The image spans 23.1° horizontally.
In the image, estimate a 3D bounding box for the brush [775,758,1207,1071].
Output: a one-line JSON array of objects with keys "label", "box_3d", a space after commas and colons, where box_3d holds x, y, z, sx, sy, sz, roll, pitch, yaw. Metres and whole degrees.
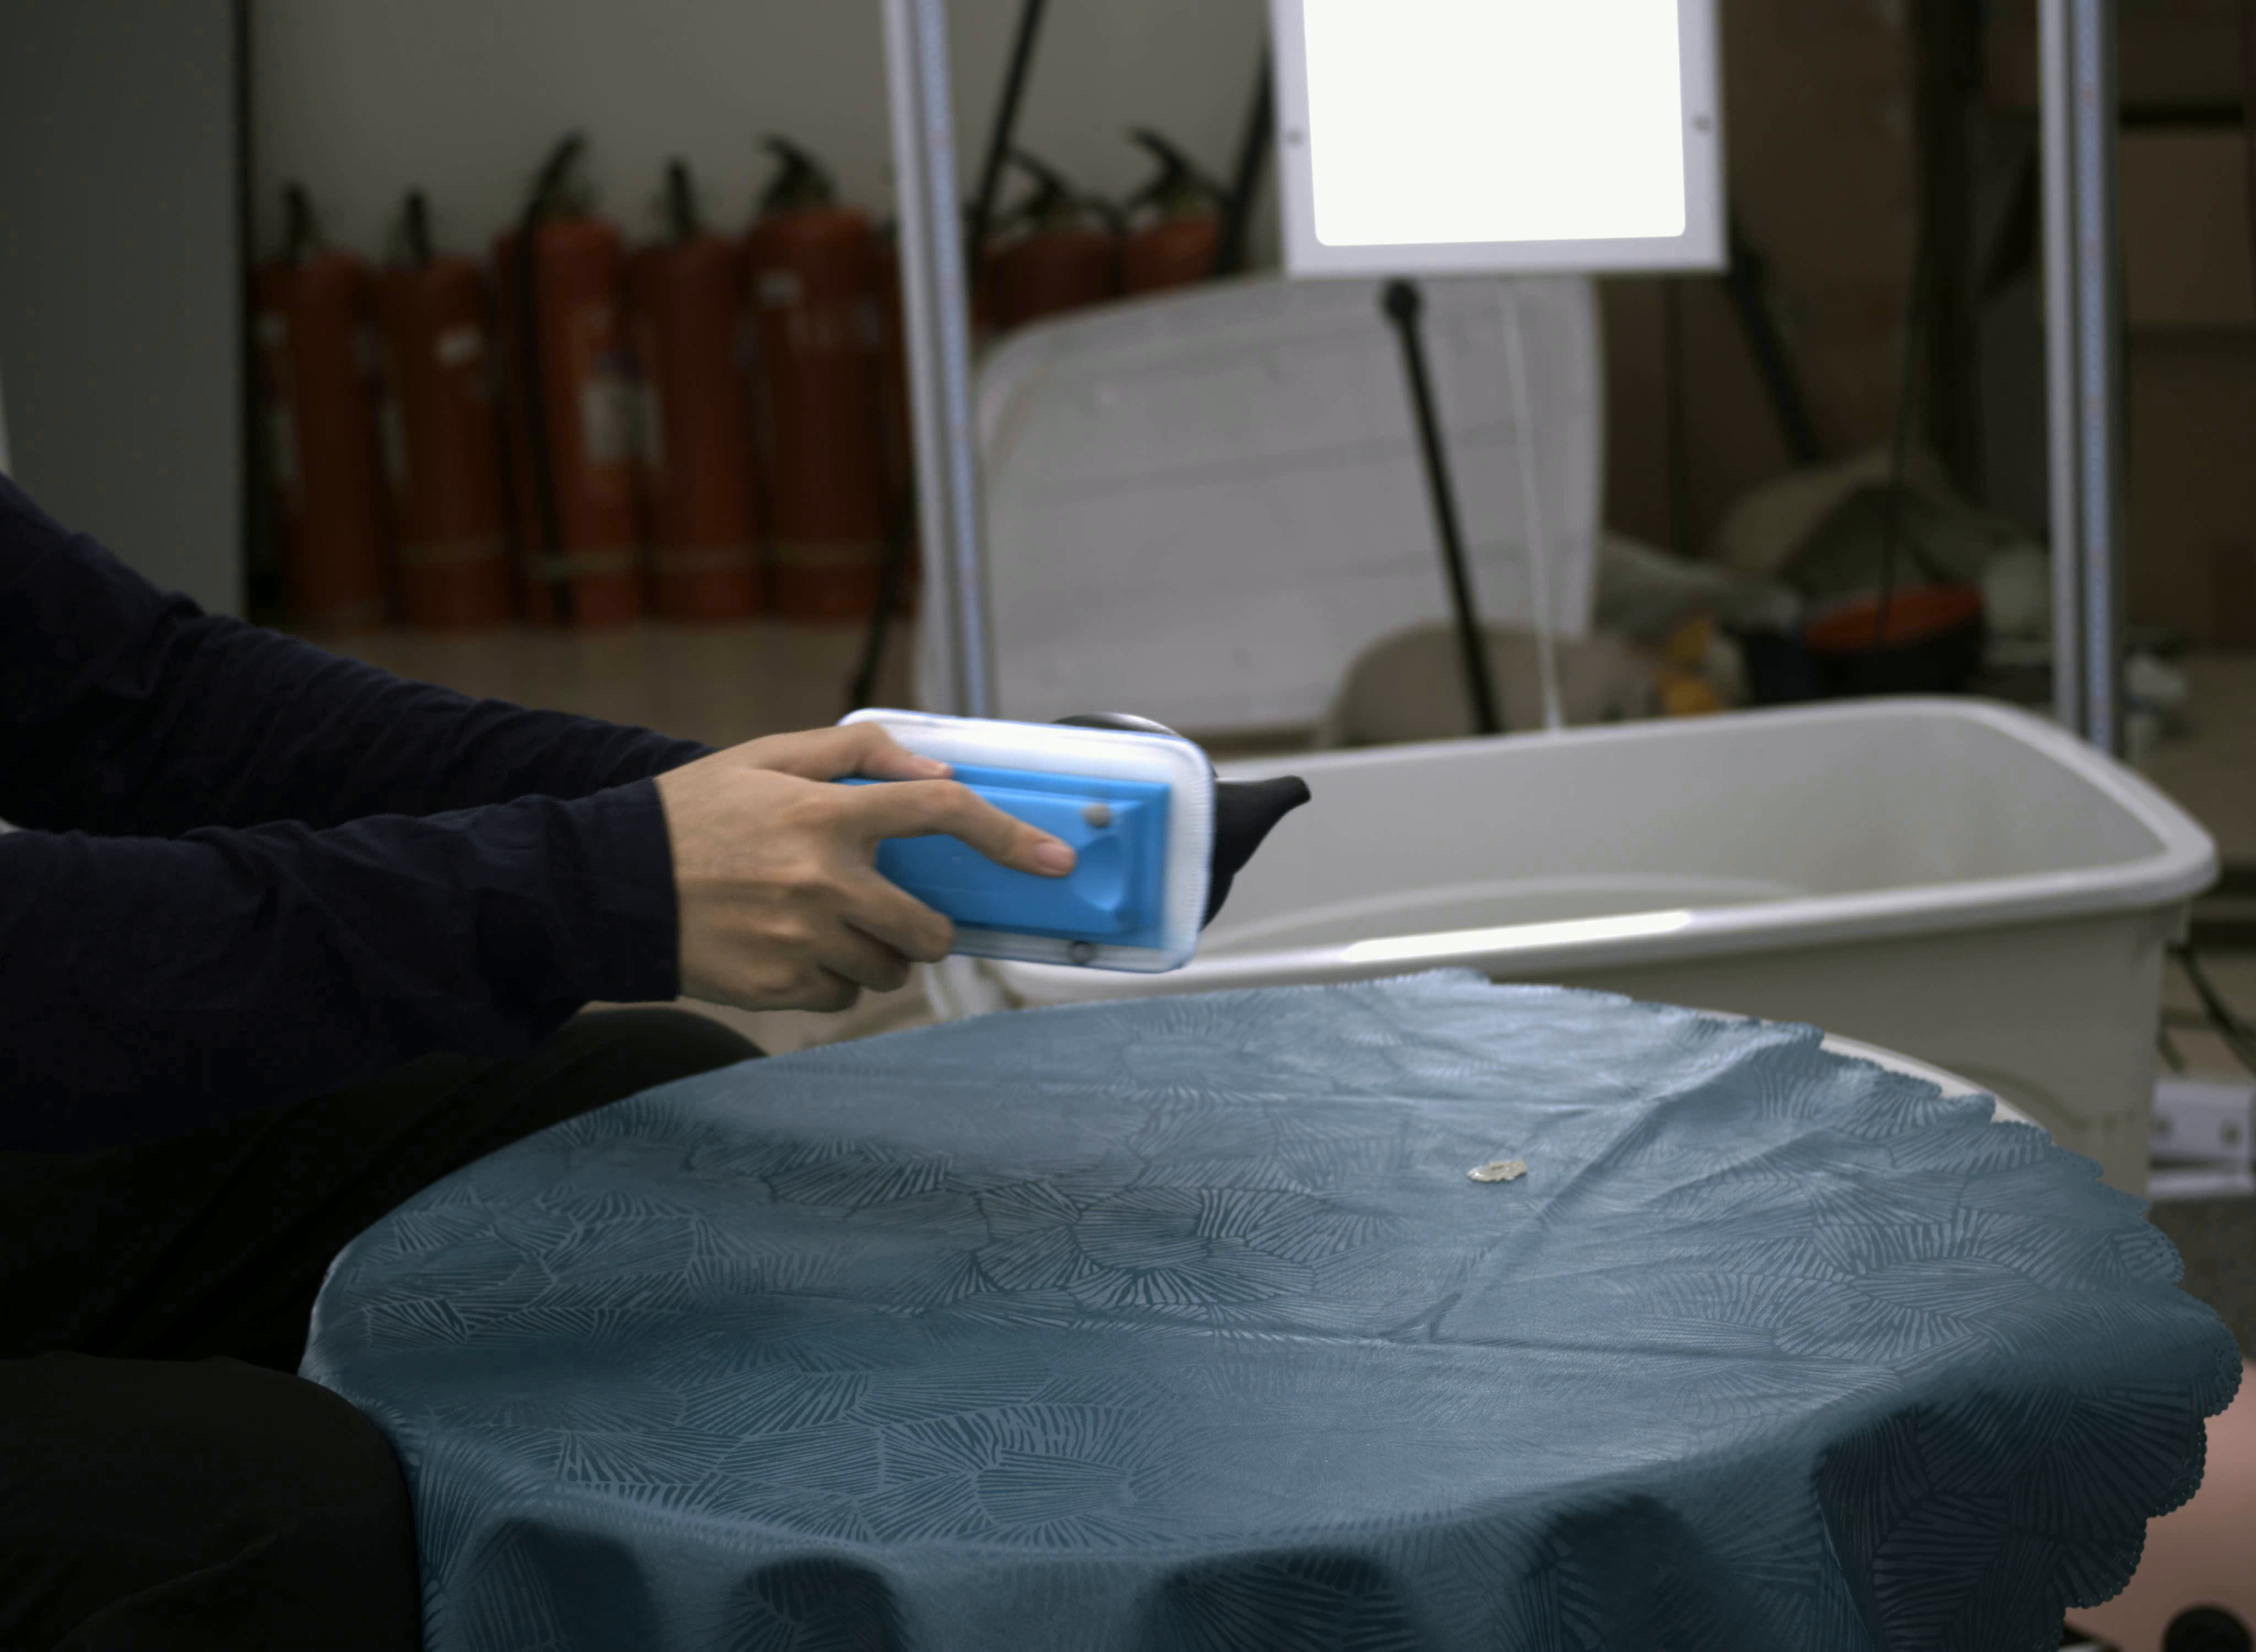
[{"label": "brush", "box_3d": [-0.049, 0.026, 1.822, 0.145, 0.084, 0.055, -15, -12, 11]}]

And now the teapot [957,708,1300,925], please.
[{"label": "teapot", "box_3d": [-0.009, 0.002, 1.879, 0.135, 0.091, 0.052, -2, 20, 29]}]
